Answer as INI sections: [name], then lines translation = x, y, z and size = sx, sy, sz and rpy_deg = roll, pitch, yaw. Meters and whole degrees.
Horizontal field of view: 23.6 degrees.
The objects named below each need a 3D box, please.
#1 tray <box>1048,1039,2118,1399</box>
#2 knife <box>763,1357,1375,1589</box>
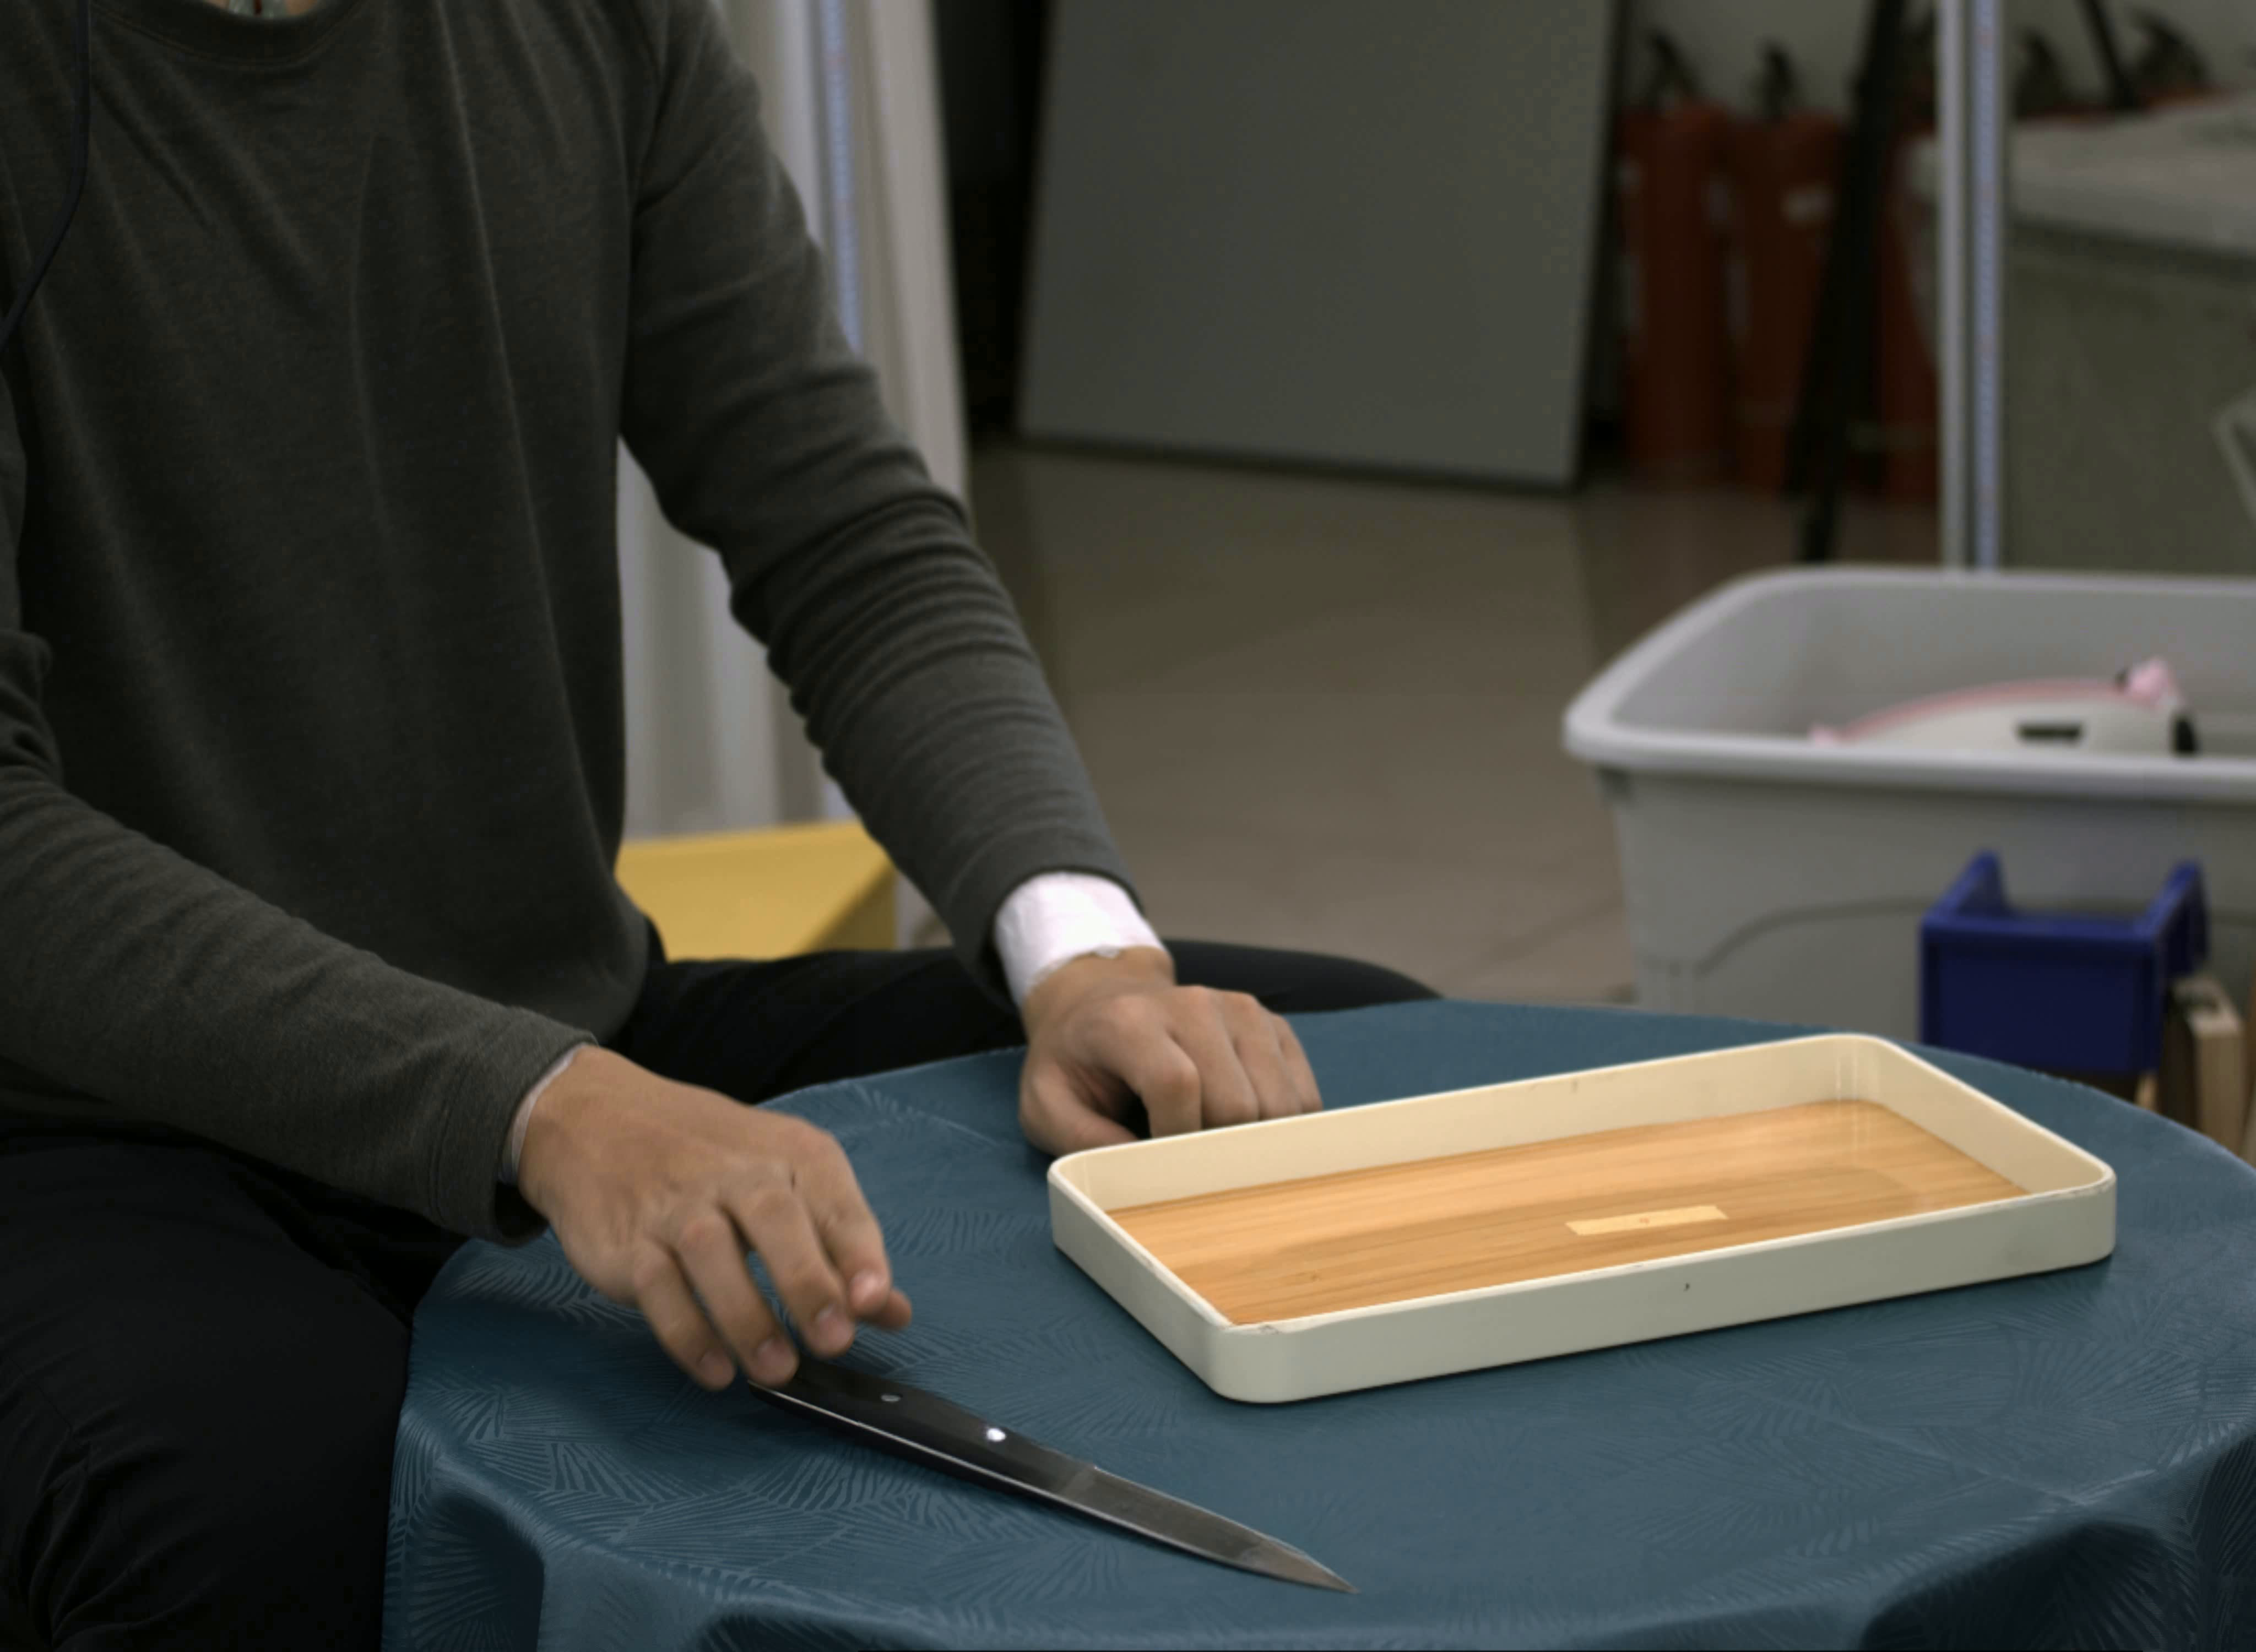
[tray]
translation = 0.139, 0.120, 1.684
size = 0.294, 0.028, 0.193
rpy_deg = -8, 13, -16
[knife]
translation = -0.022, 0.182, 1.504
size = 0.240, 0.016, 0.024
rpy_deg = 13, 22, 44
